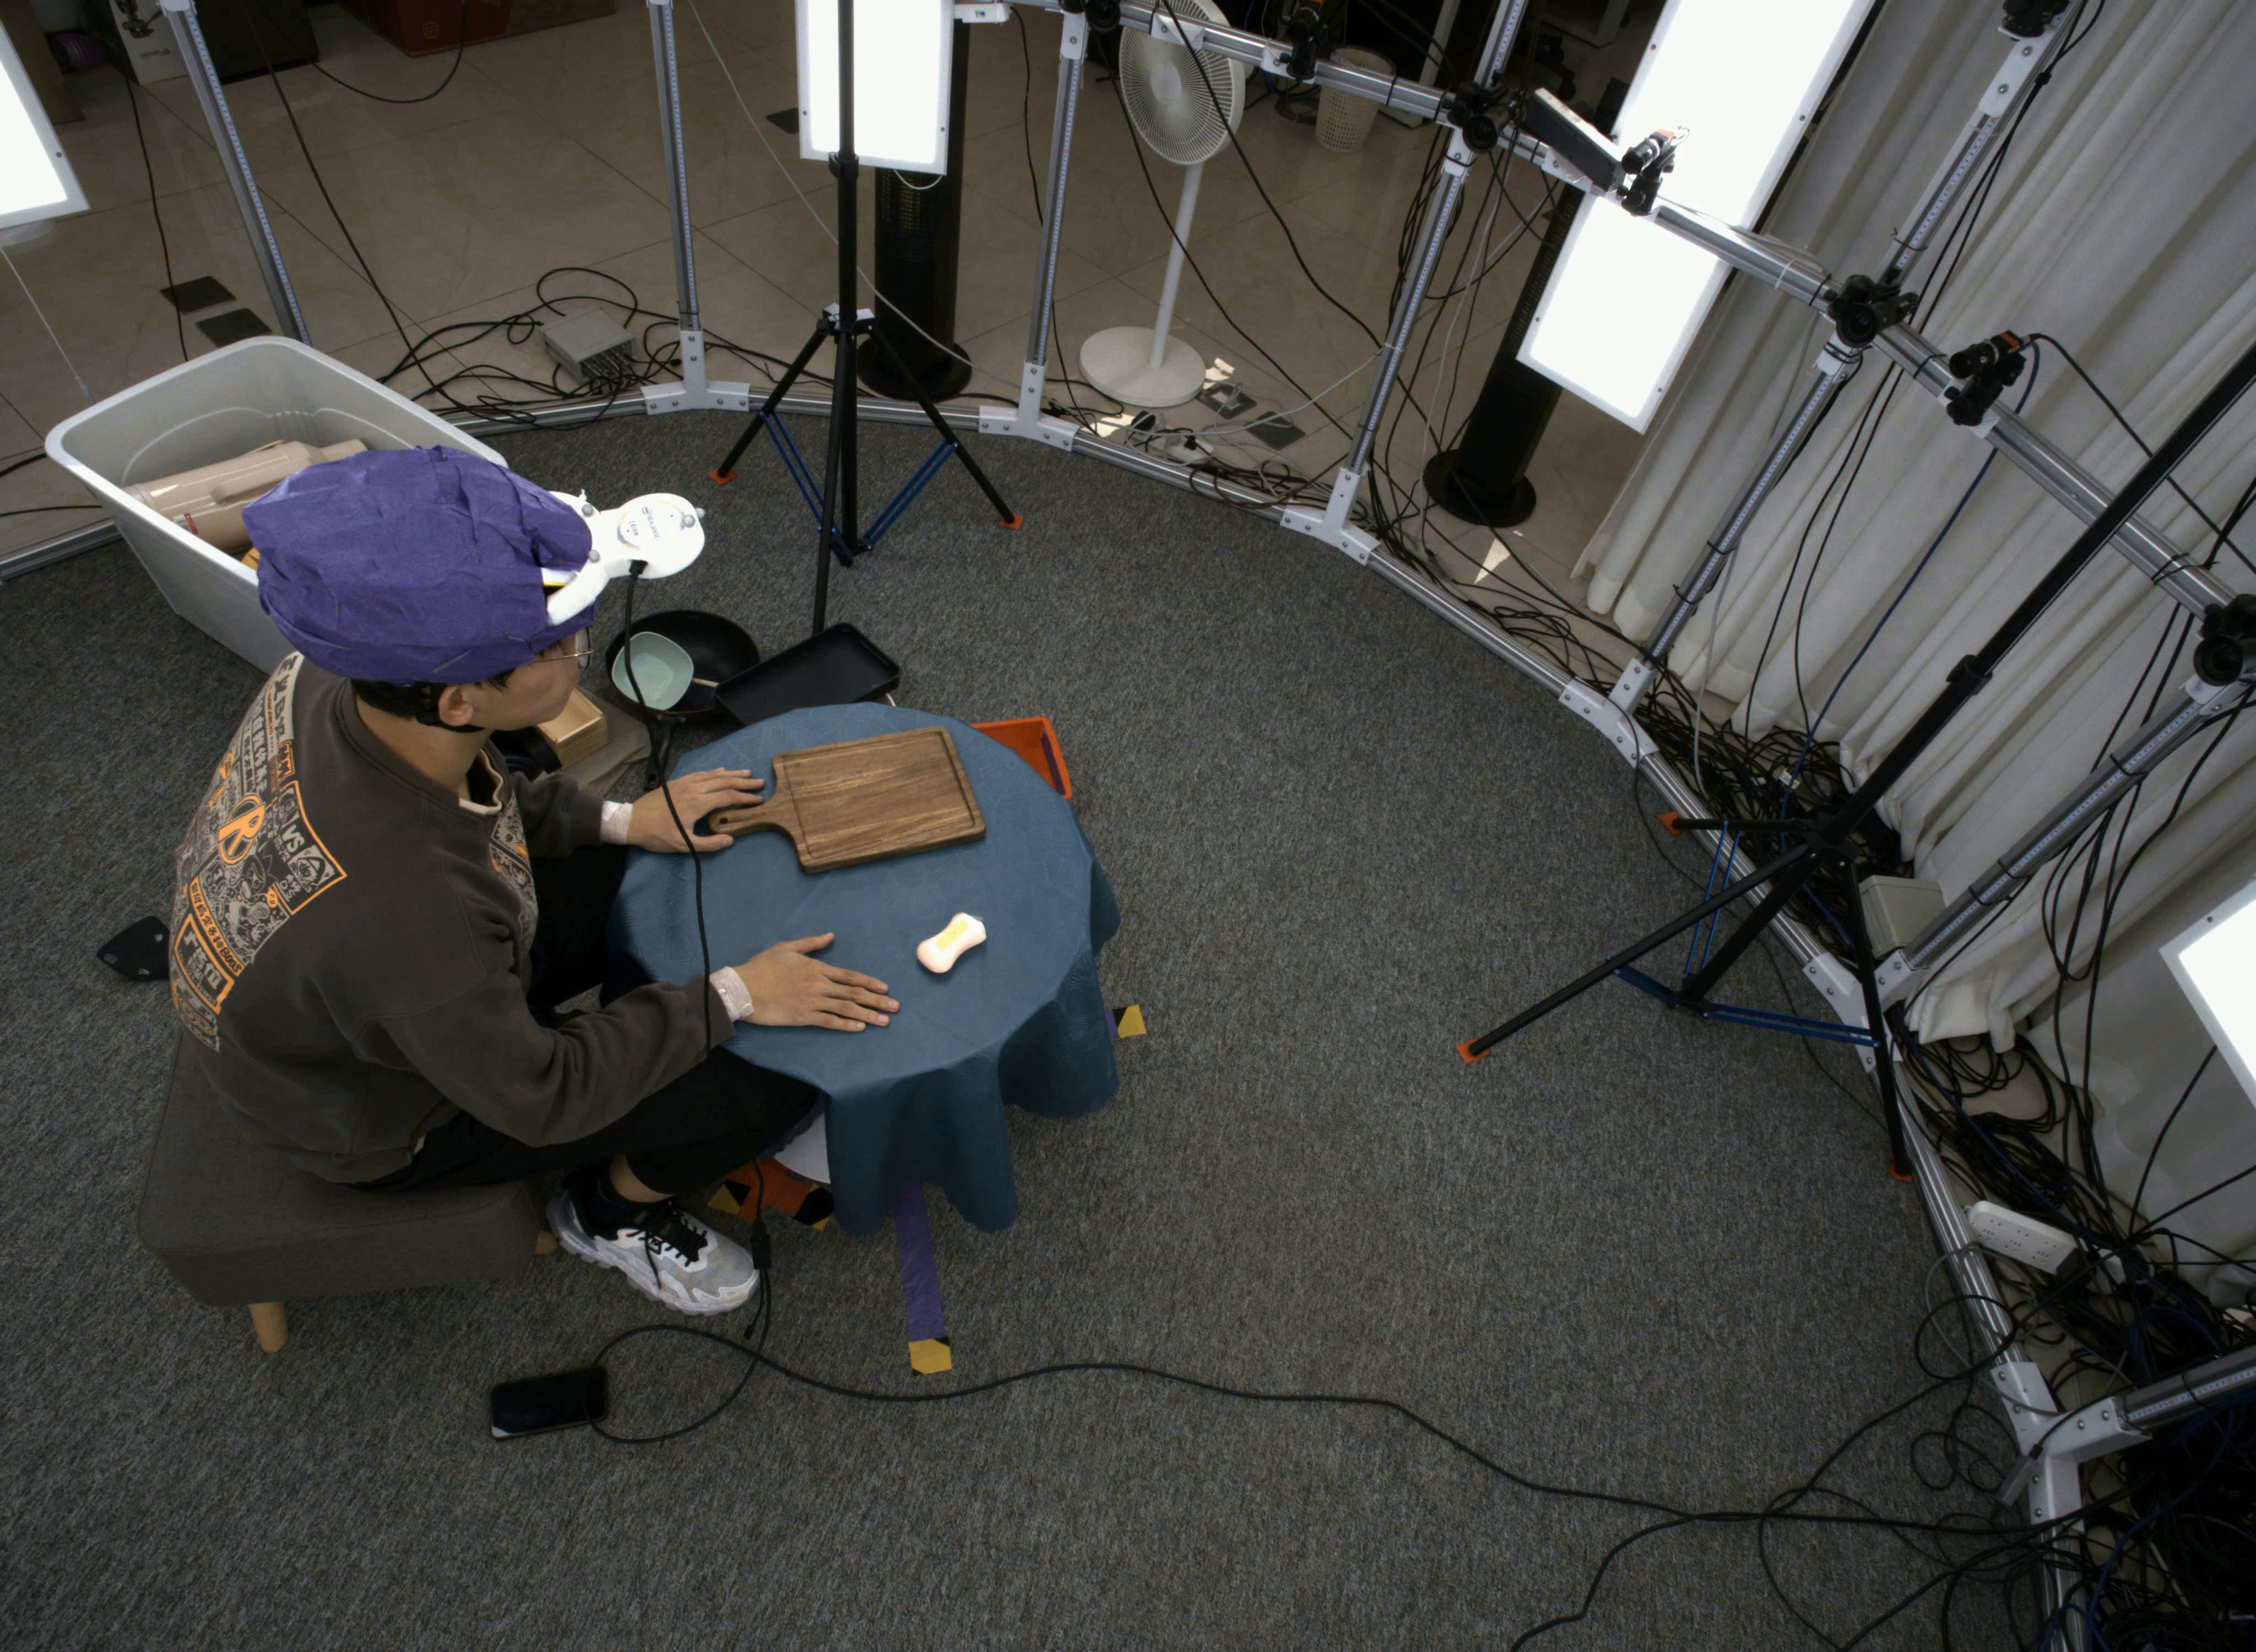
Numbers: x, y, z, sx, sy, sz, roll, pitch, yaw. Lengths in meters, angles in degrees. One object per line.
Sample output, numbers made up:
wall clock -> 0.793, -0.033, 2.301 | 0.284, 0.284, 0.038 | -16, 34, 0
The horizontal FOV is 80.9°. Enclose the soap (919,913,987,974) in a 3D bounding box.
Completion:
soap -> -0.223, 0.147, 1.662 | 0.049, 0.031, 0.094 | 38, 57, 17

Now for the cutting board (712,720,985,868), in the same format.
cutting board -> -0.386, -0.040, 1.764 | 0.353, 0.023, 0.196 | -11, 58, -21
